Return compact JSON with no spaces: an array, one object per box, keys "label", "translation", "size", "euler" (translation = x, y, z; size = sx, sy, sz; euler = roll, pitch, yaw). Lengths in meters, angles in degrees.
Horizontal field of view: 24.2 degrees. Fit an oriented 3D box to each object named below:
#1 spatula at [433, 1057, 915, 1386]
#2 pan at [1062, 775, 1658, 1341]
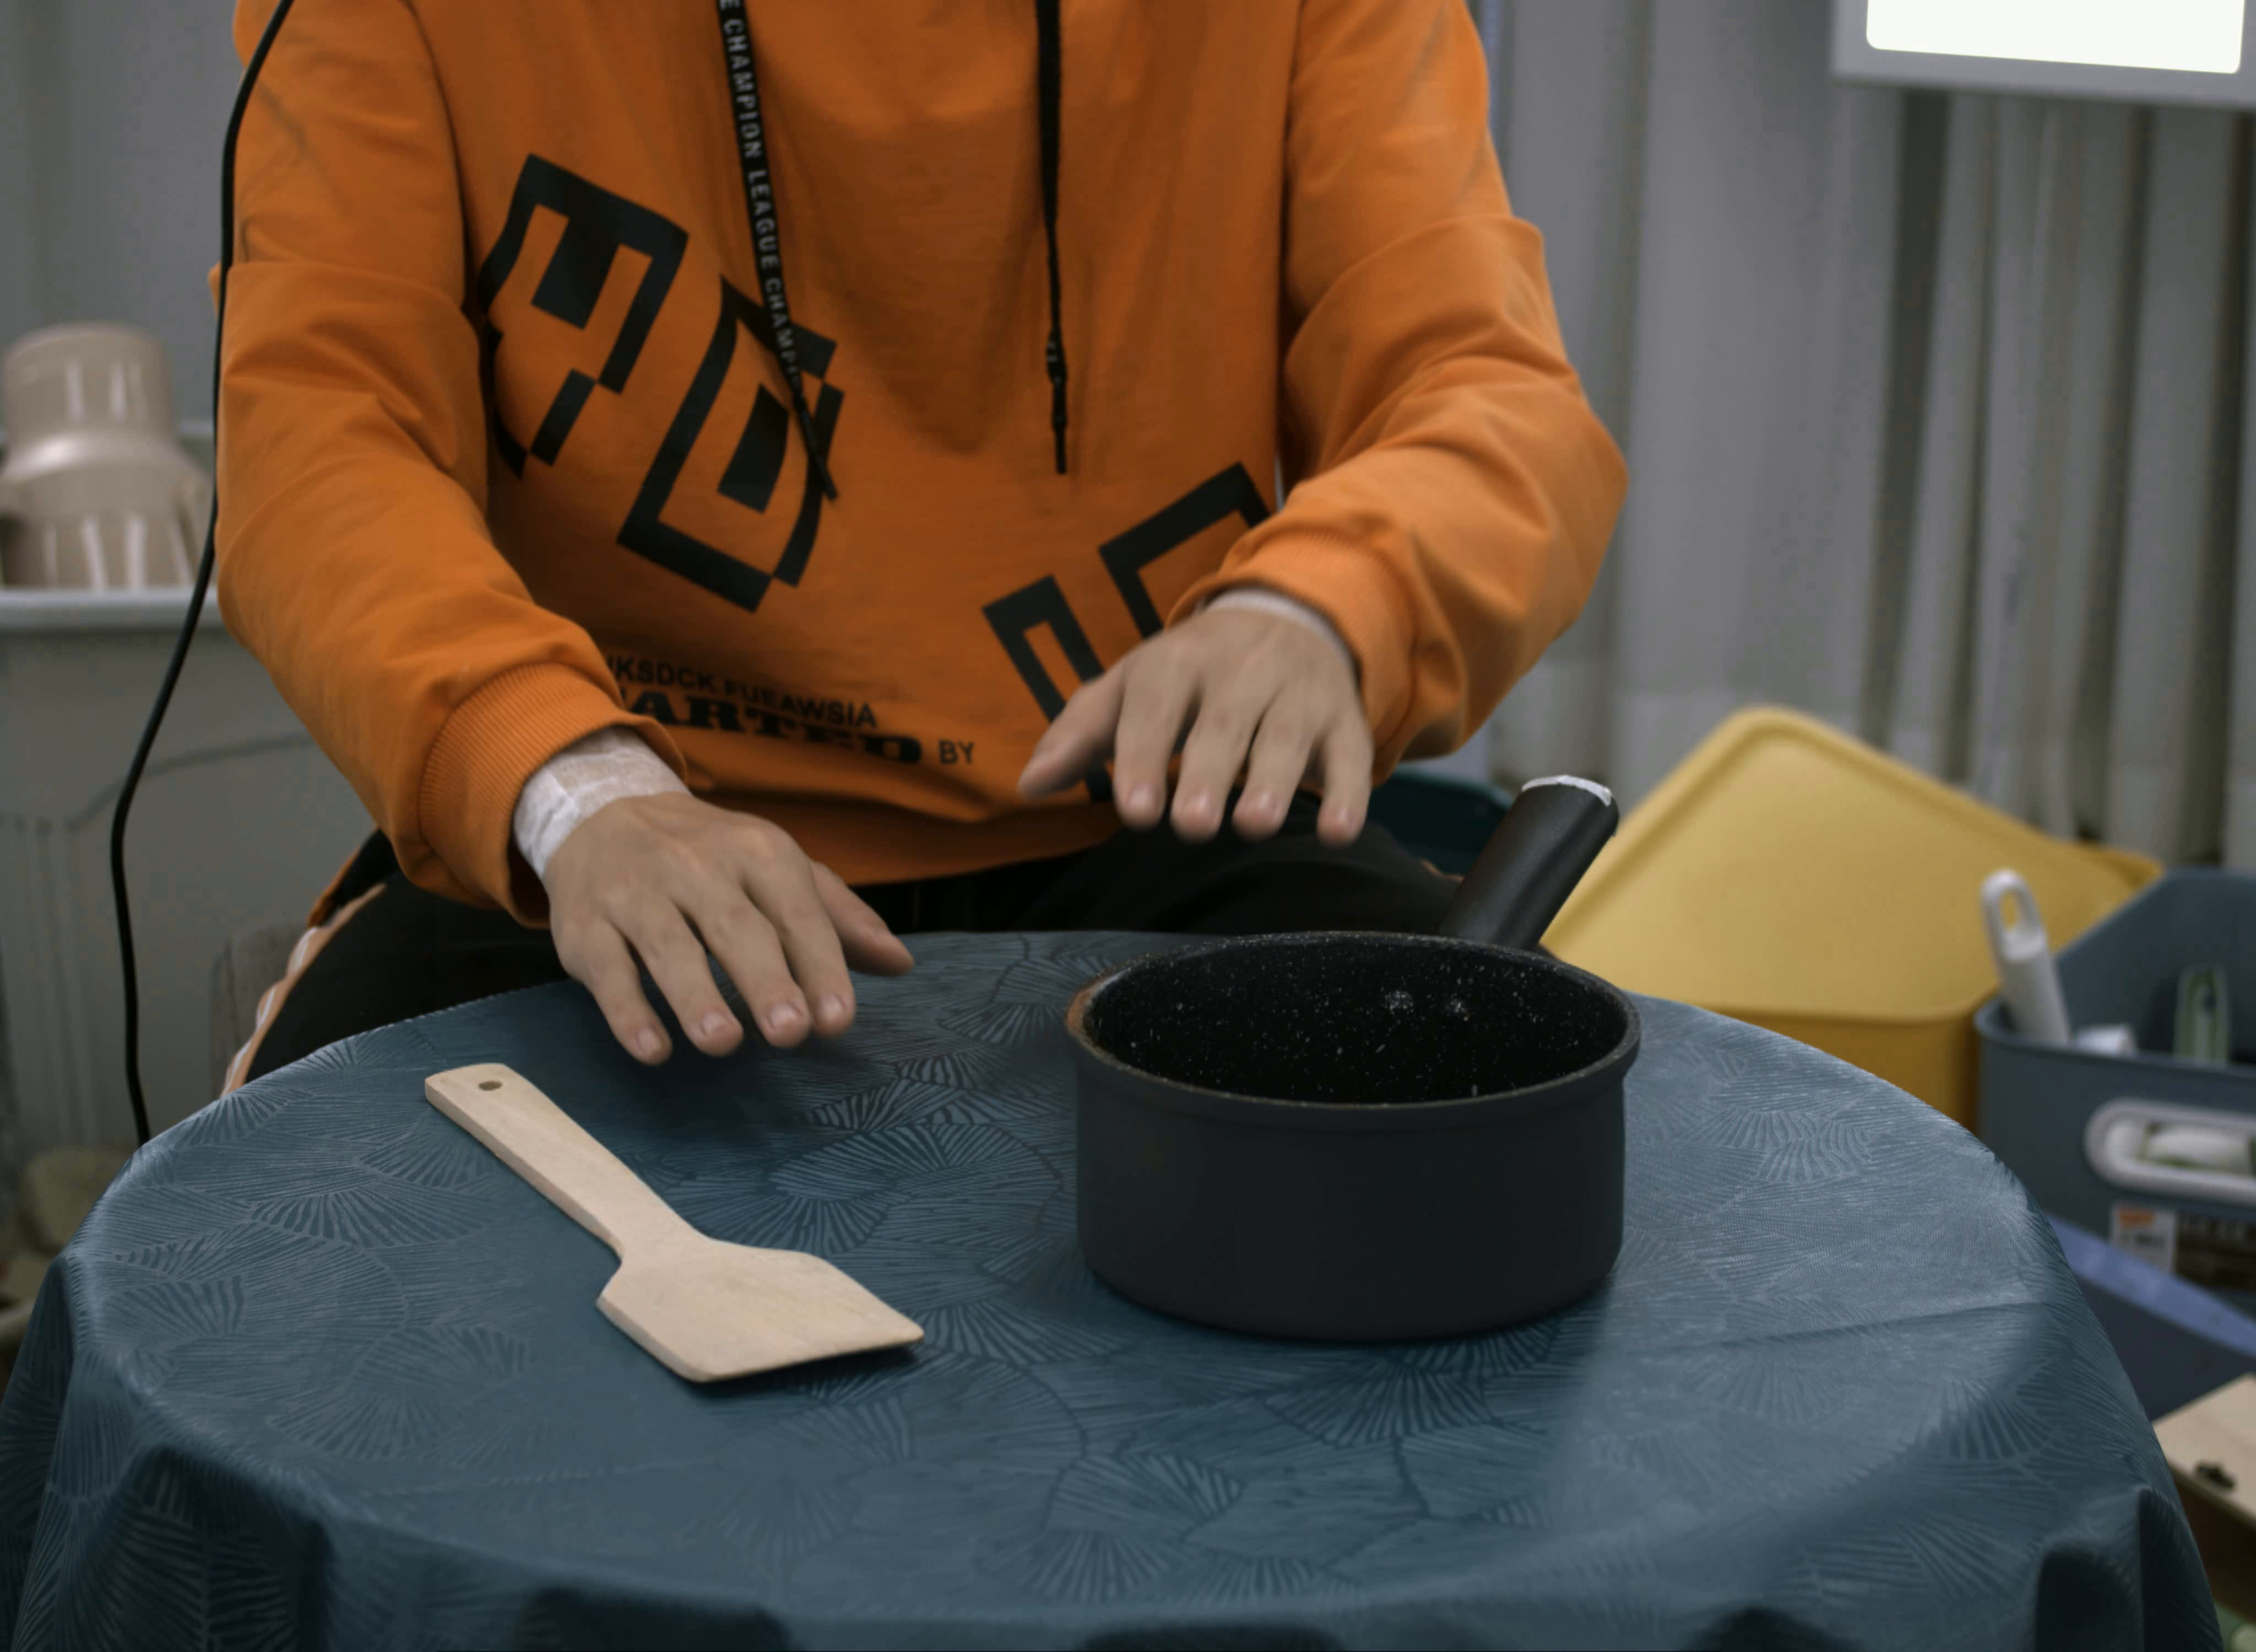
[{"label":"spatula","translation":[-0.153,0.115,1.590],"size":[0.072,0.011,0.289],"euler":[-11,19,-24]},{"label":"pan","translation":[0.096,0.067,1.629],"size":[0.170,0.087,0.329],"euler":[8,19,21]}]
